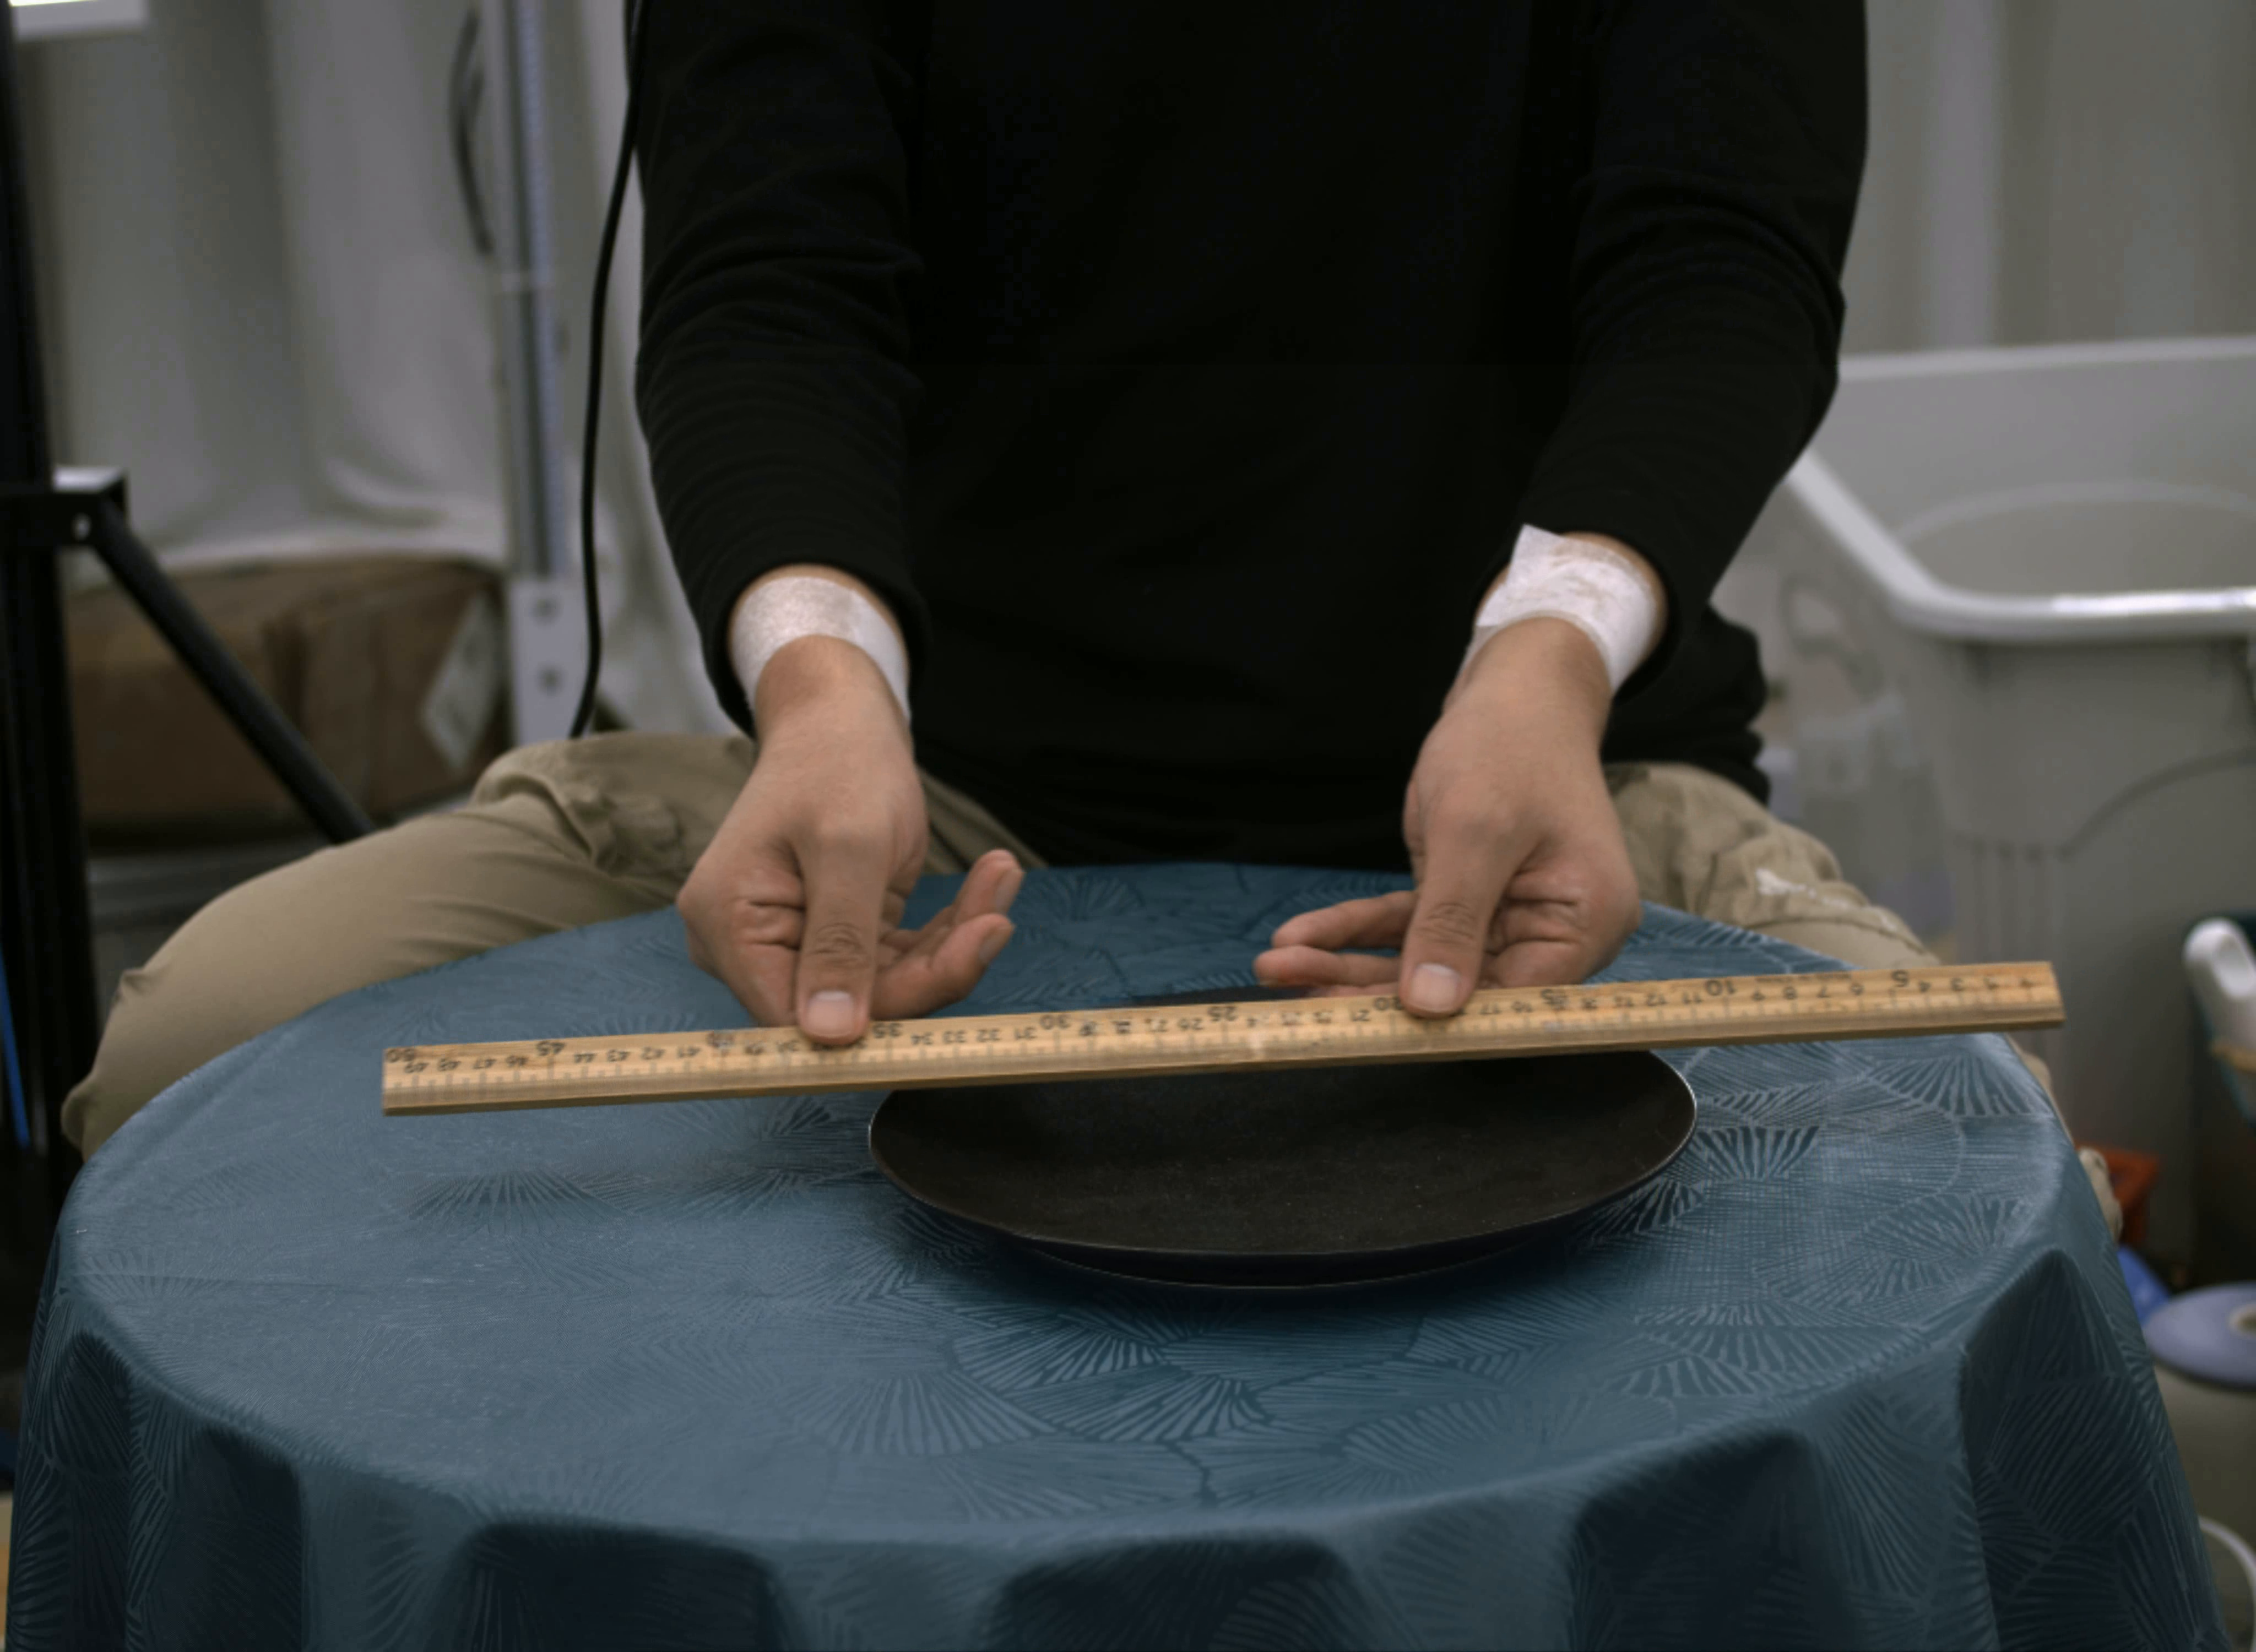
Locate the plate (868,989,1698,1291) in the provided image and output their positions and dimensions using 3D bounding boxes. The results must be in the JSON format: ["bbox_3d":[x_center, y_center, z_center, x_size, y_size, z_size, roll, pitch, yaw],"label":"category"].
[{"bbox_3d":[0.046,0.094,1.555,0.243,0.023,0.245,-3,16,-1],"label":"plate"}]

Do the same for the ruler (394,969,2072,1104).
[{"bbox_3d":[0.032,0.062,1.578,0.498,0.006,0.027,-2,43,1],"label":"ruler"}]
